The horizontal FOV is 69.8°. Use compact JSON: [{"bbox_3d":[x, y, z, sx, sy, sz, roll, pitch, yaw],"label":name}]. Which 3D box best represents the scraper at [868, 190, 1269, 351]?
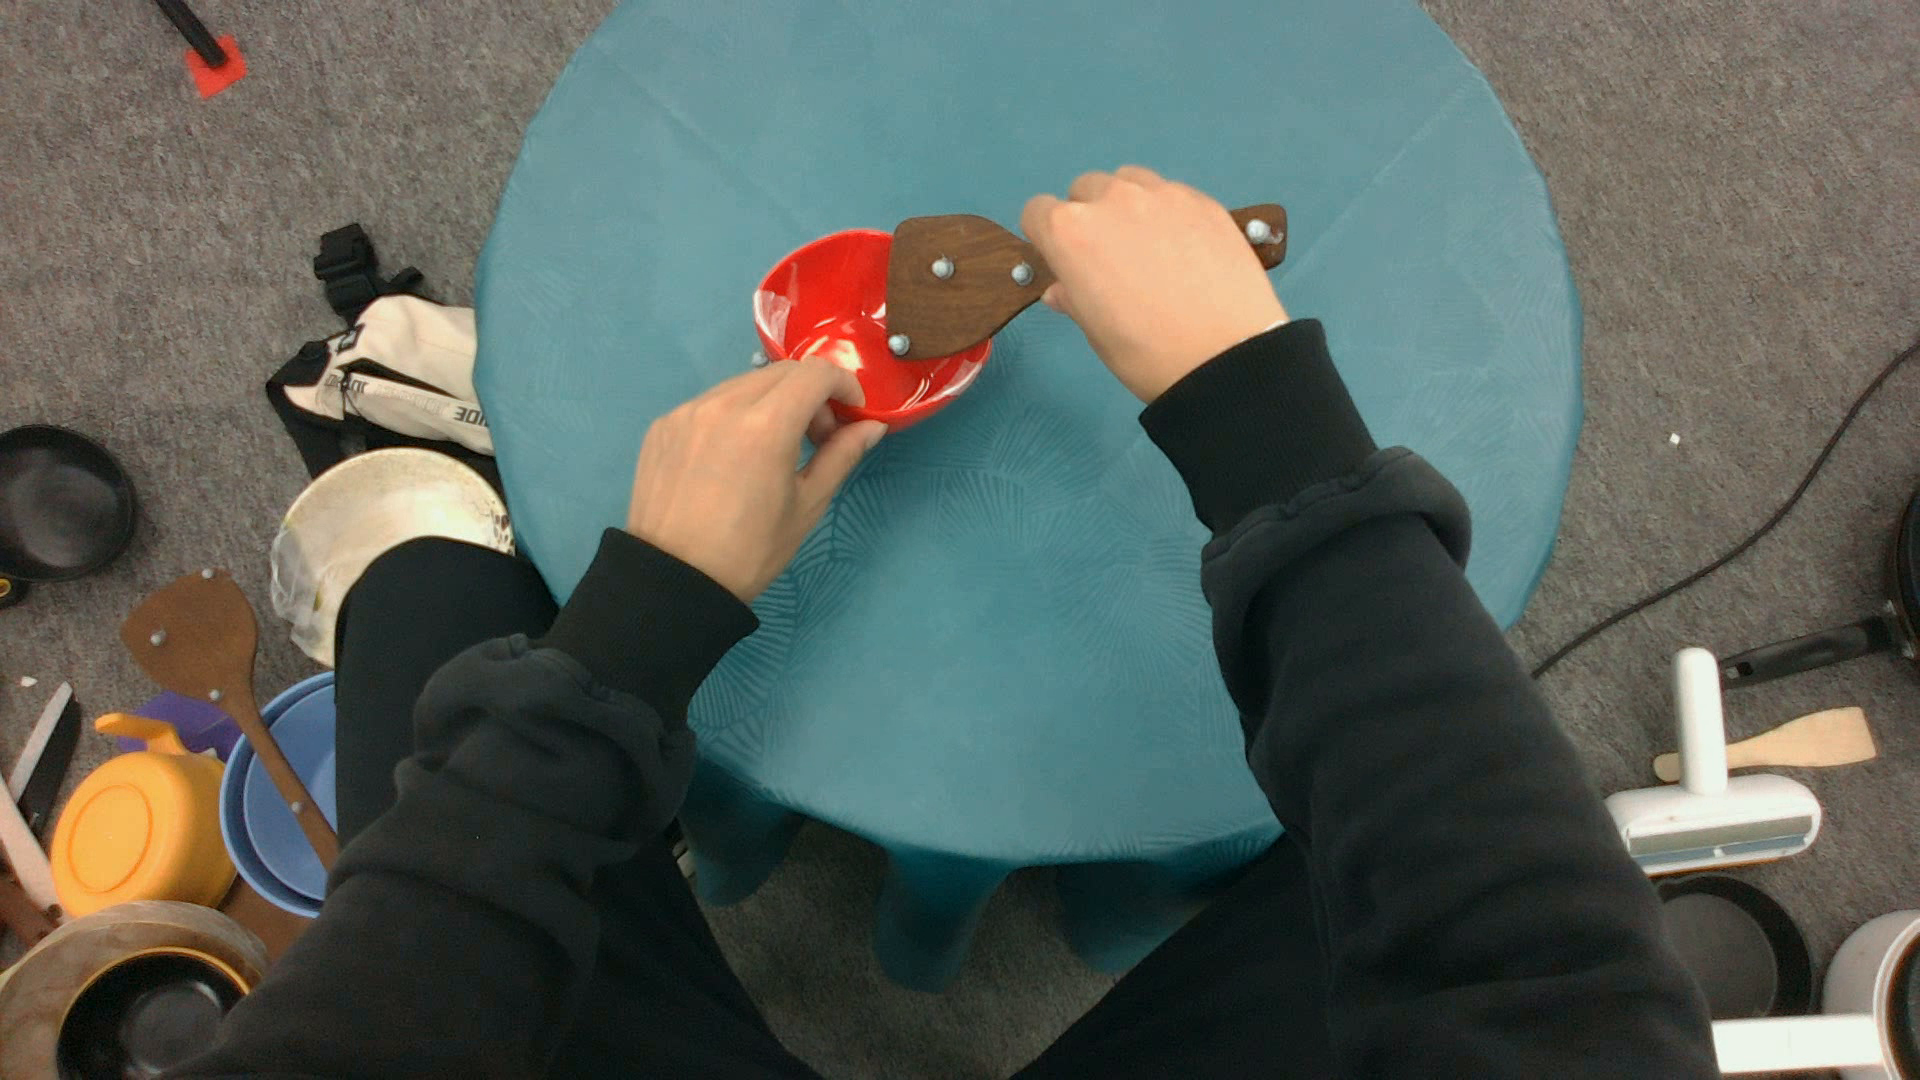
[{"bbox_3d":[0.042,-0.131,0.629,0.211,0.011,0.076,0,84,36],"label":"scraper"}]

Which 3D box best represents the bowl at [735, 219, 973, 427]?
[{"bbox_3d":[-0.057,-0.101,0.691,0.119,0.051,0.119,9,55,-13],"label":"bowl"}]
